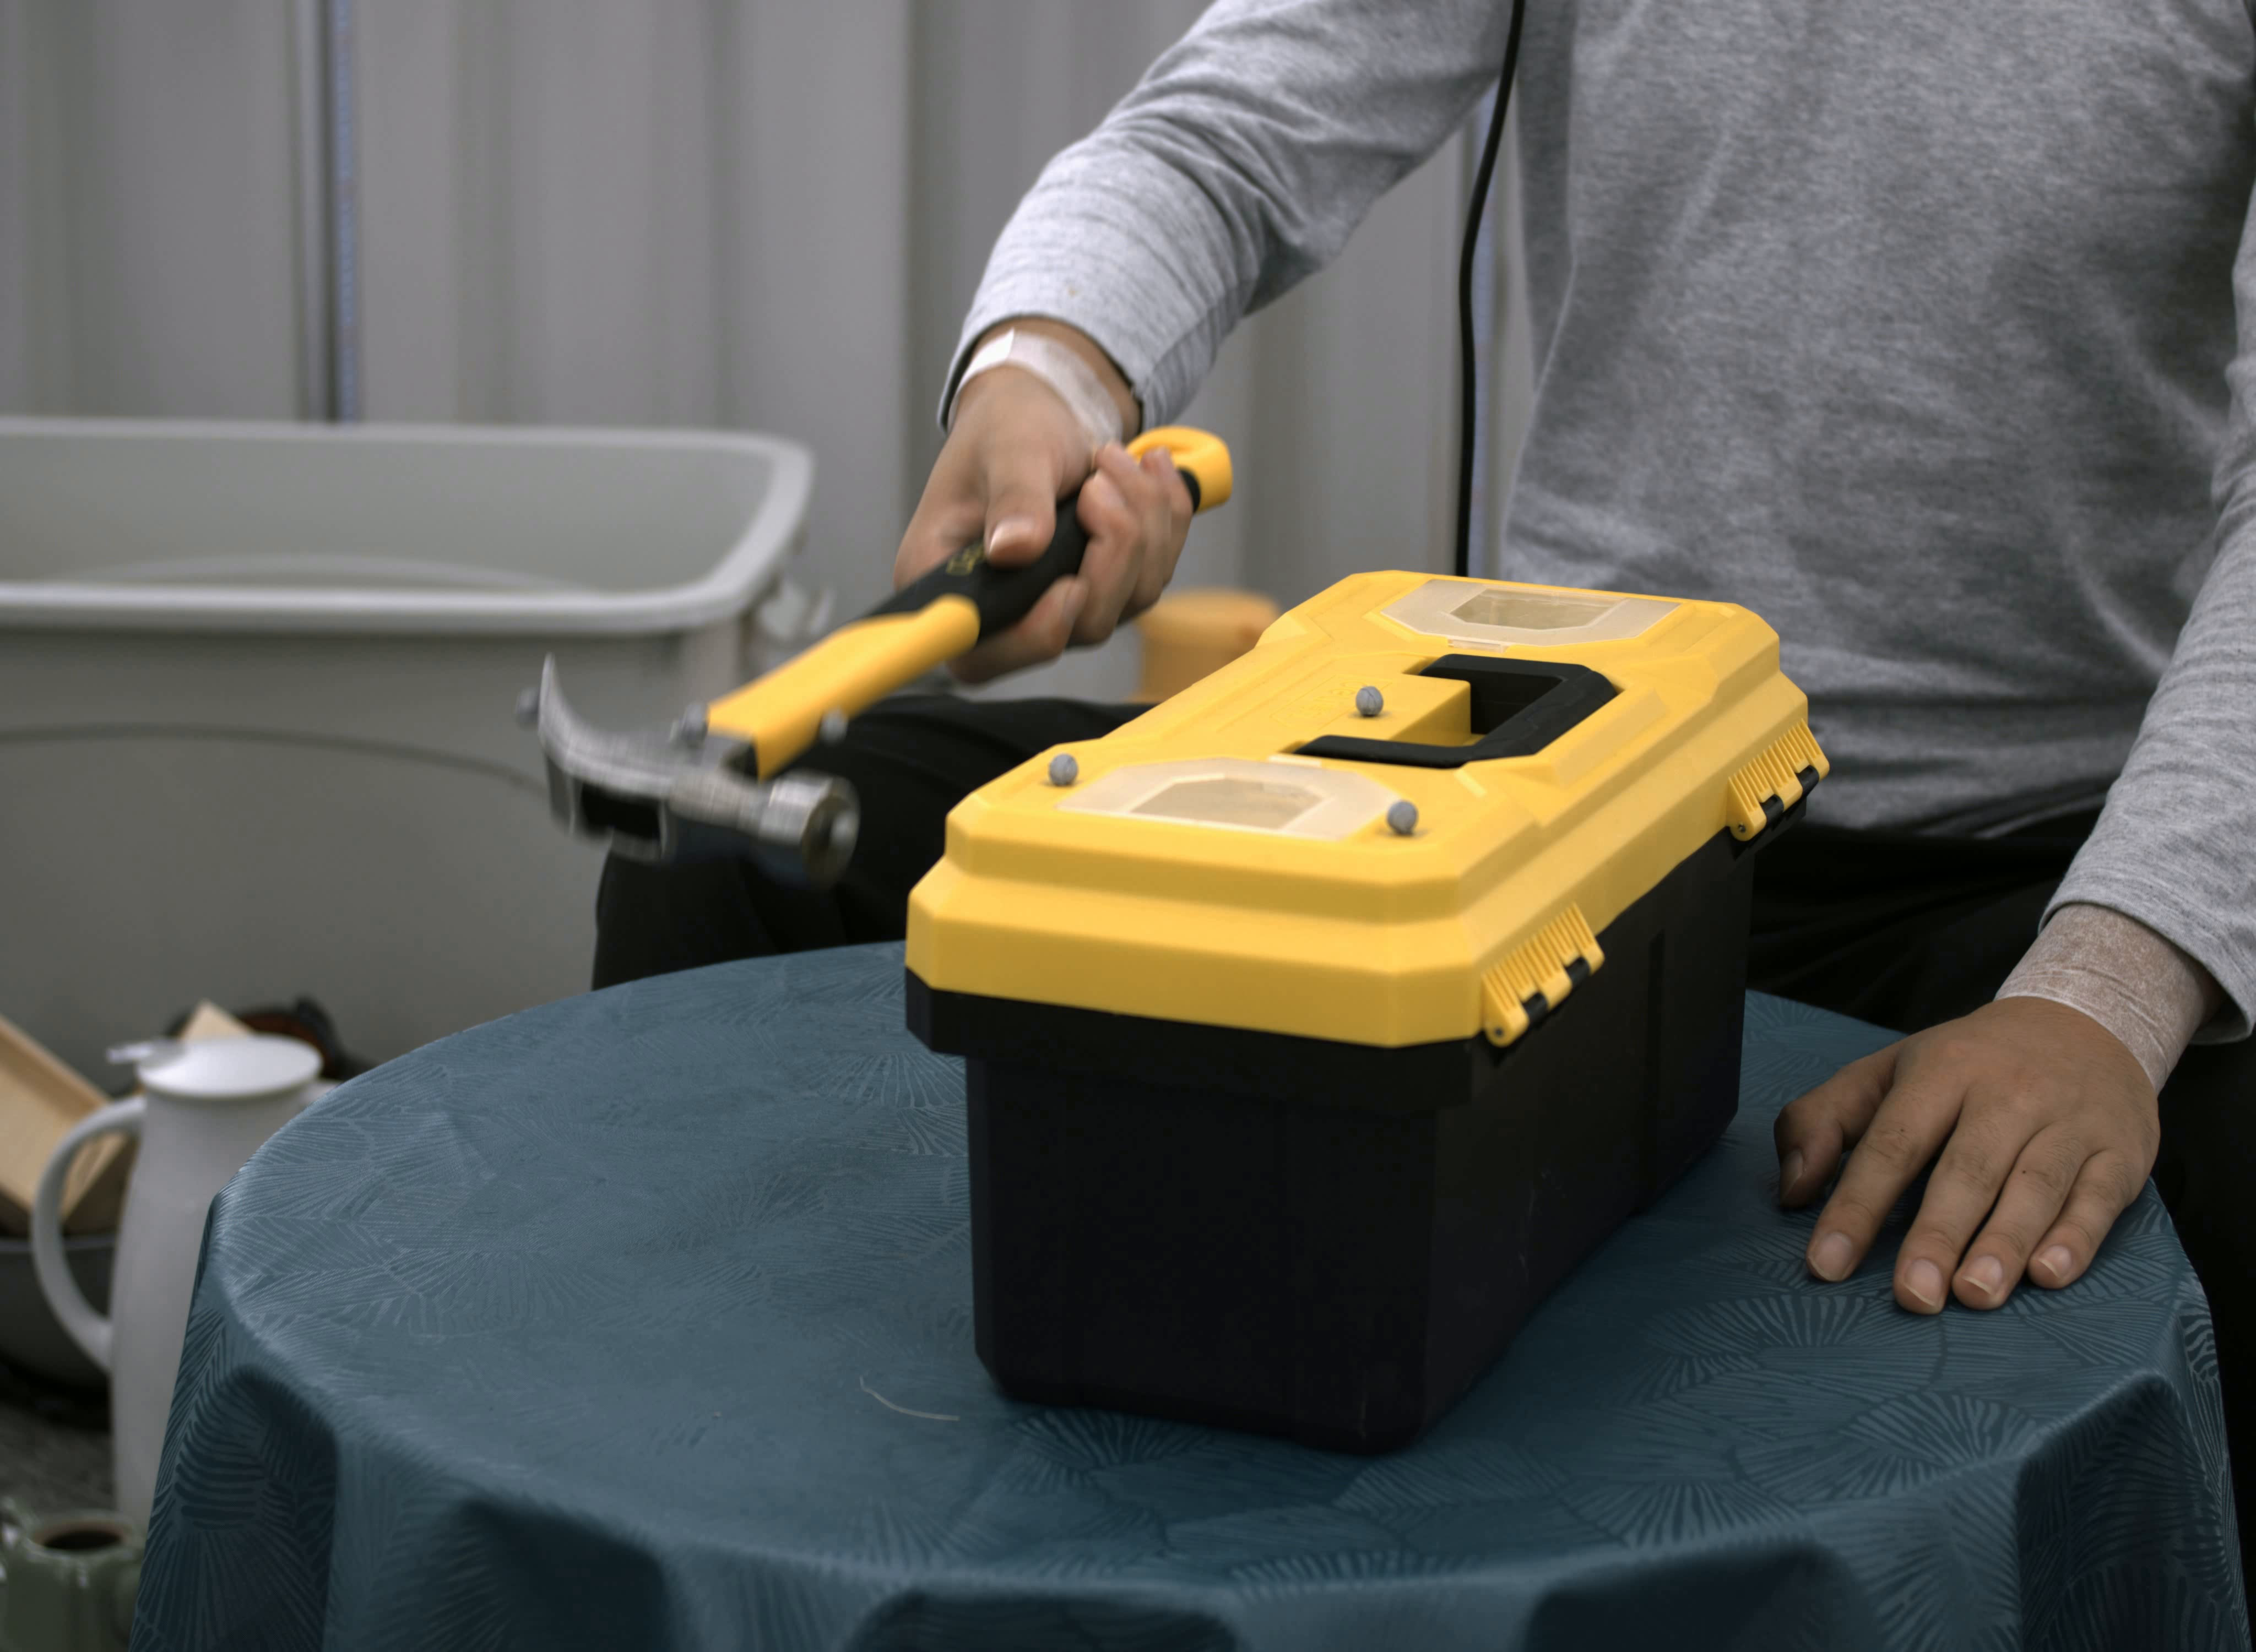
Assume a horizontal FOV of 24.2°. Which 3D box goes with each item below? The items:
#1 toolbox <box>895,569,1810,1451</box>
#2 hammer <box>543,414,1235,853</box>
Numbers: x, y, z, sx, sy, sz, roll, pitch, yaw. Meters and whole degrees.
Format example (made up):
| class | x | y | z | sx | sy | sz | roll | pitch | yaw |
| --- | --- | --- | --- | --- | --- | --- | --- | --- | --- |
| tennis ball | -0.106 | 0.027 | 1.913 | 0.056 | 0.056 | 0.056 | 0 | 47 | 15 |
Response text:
| class | x | y | z | sx | sy | sz | roll | pitch | yaw |
| --- | --- | --- | --- | --- | --- | --- | --- | --- | --- |
| toolbox | 0.075 | 0.044 | 1.549 | 0.179 | 0.174 | 0.352 | 7 | 17 | 22 |
| hammer | -0.062 | -0.072 | 1.662 | 0.130 | 0.032 | 0.339 | 11 | 26 | 28 |
